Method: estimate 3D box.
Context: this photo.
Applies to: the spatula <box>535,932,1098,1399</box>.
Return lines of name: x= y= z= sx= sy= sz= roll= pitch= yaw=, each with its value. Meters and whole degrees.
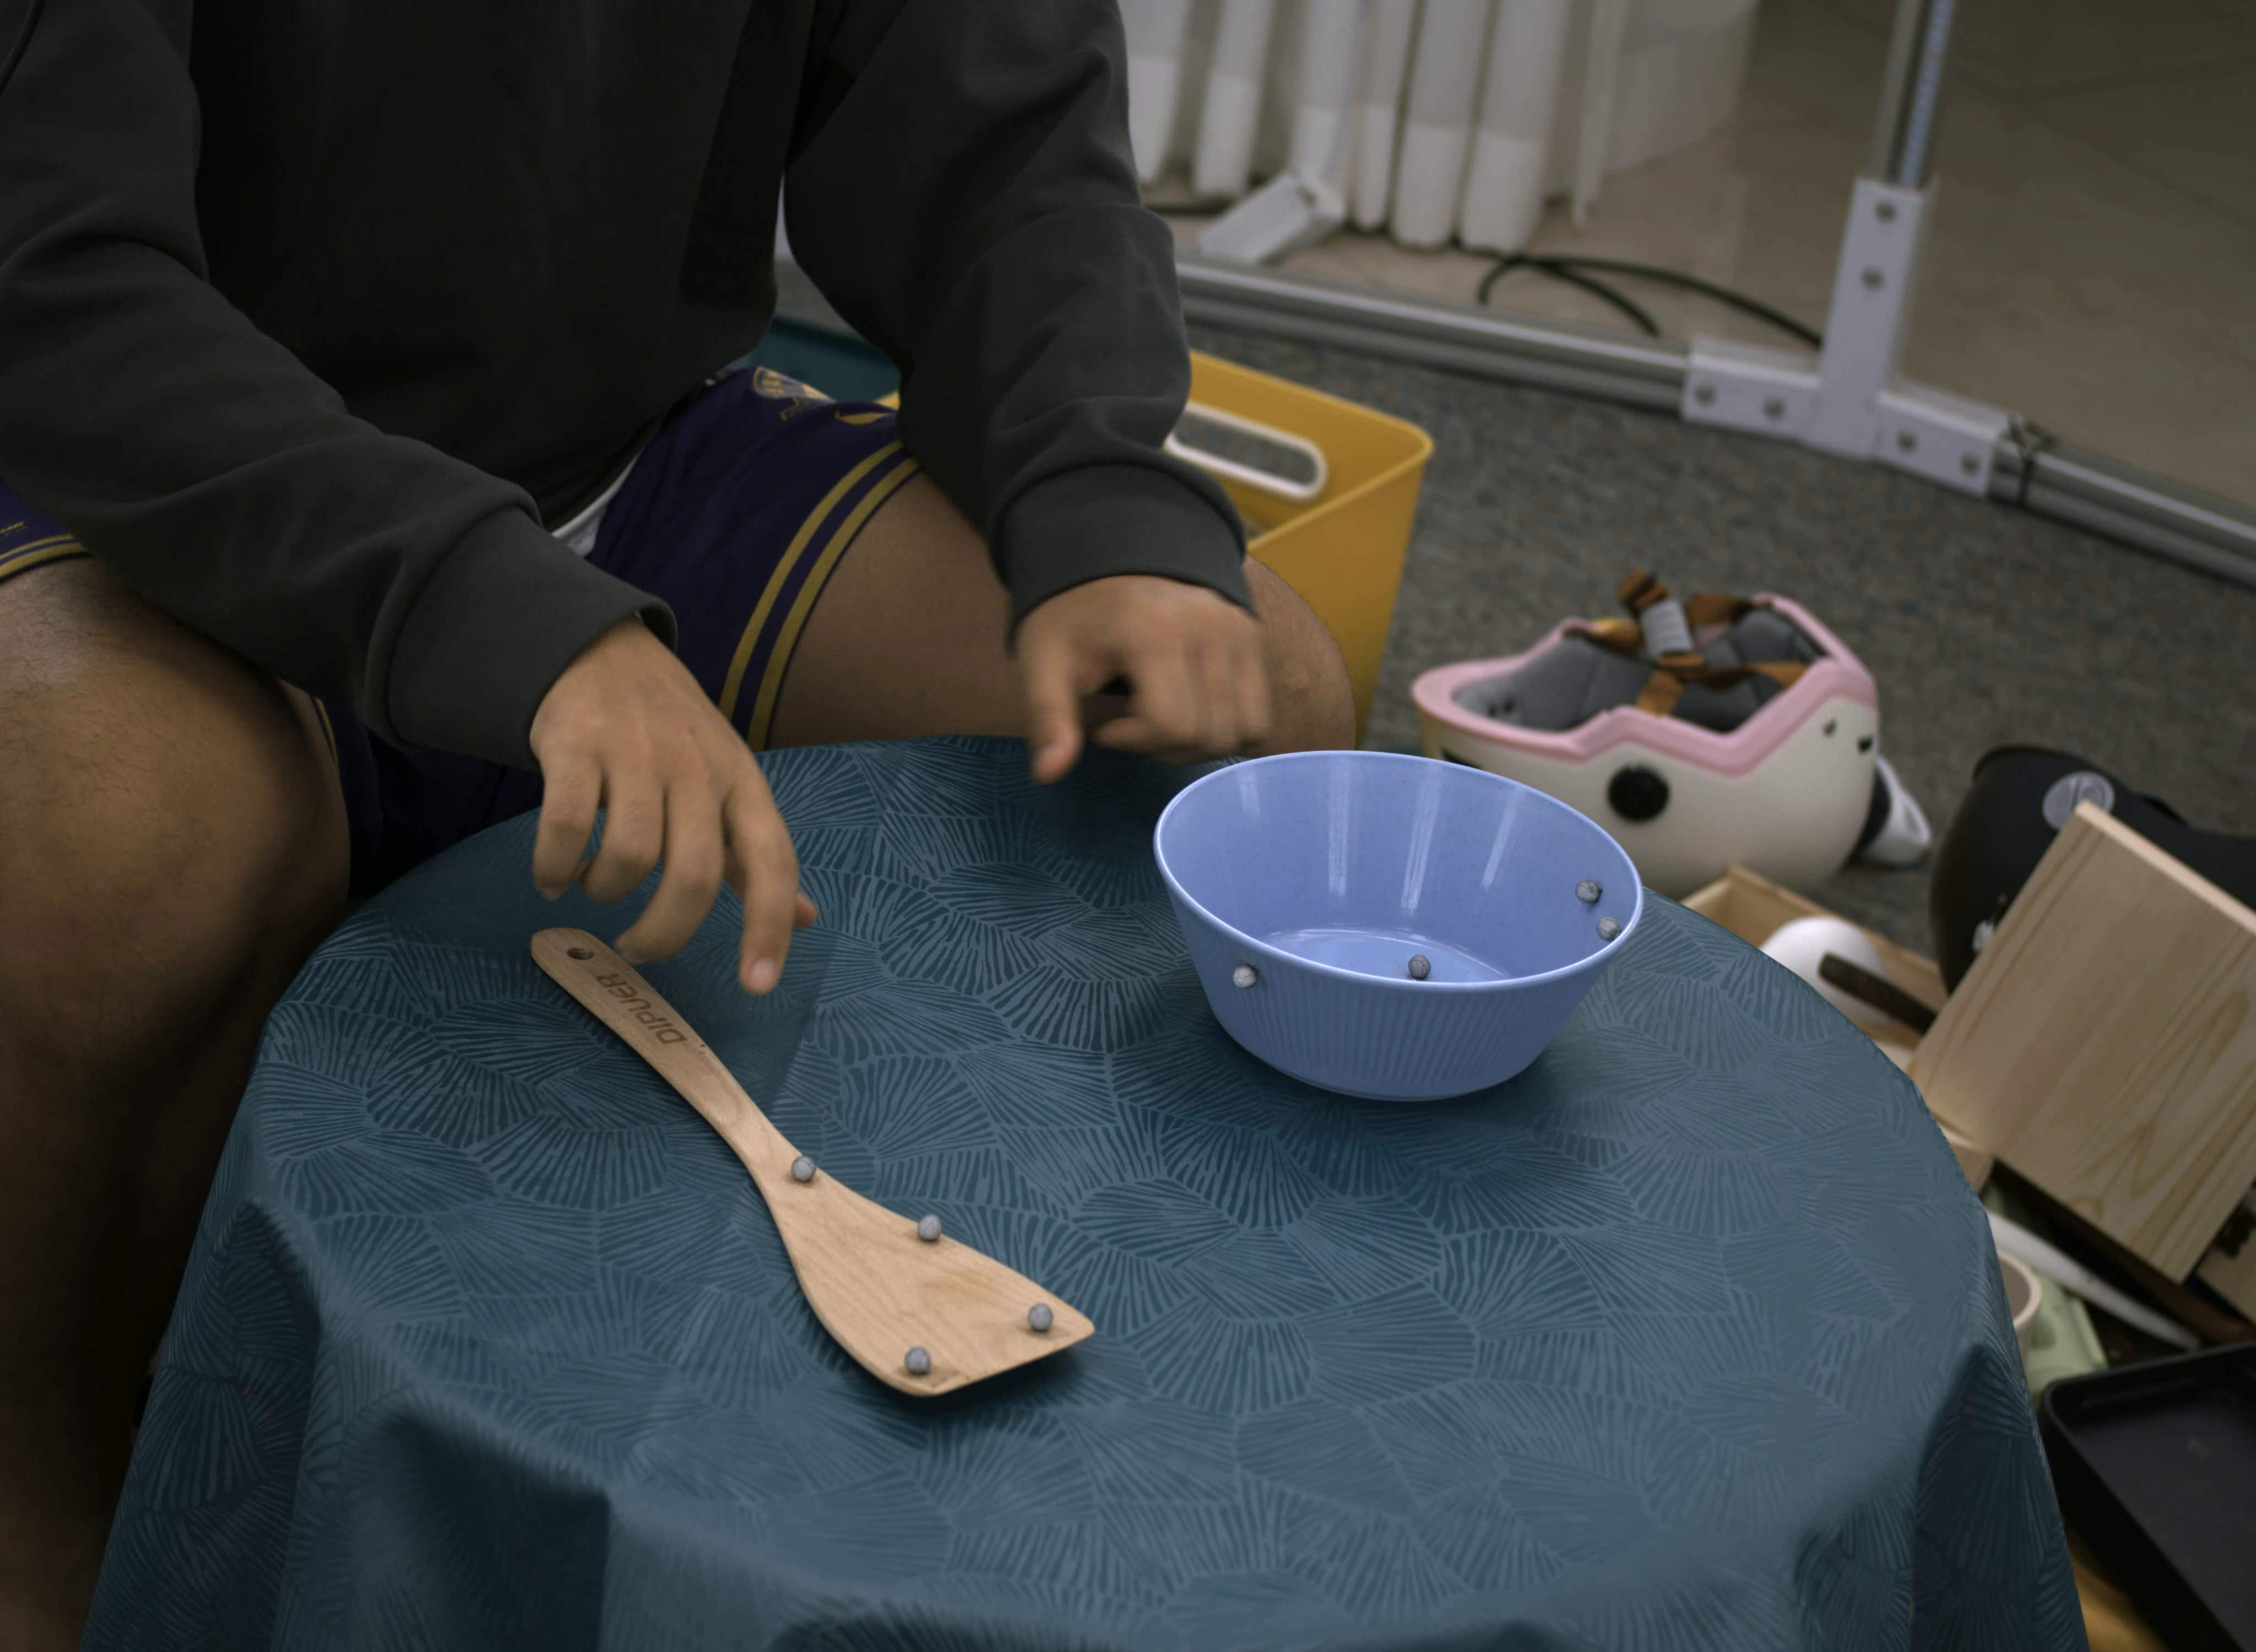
spatula: x=-0.119 y=0.107 z=1.790 sx=0.079 sy=0.016 sz=0.330 roll=-11 pitch=32 yaw=-30

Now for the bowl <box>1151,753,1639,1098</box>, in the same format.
bowl: x=0.092 y=0.041 z=1.907 sx=0.175 sy=0.070 sz=0.177 roll=5 pitch=27 yaw=-3
